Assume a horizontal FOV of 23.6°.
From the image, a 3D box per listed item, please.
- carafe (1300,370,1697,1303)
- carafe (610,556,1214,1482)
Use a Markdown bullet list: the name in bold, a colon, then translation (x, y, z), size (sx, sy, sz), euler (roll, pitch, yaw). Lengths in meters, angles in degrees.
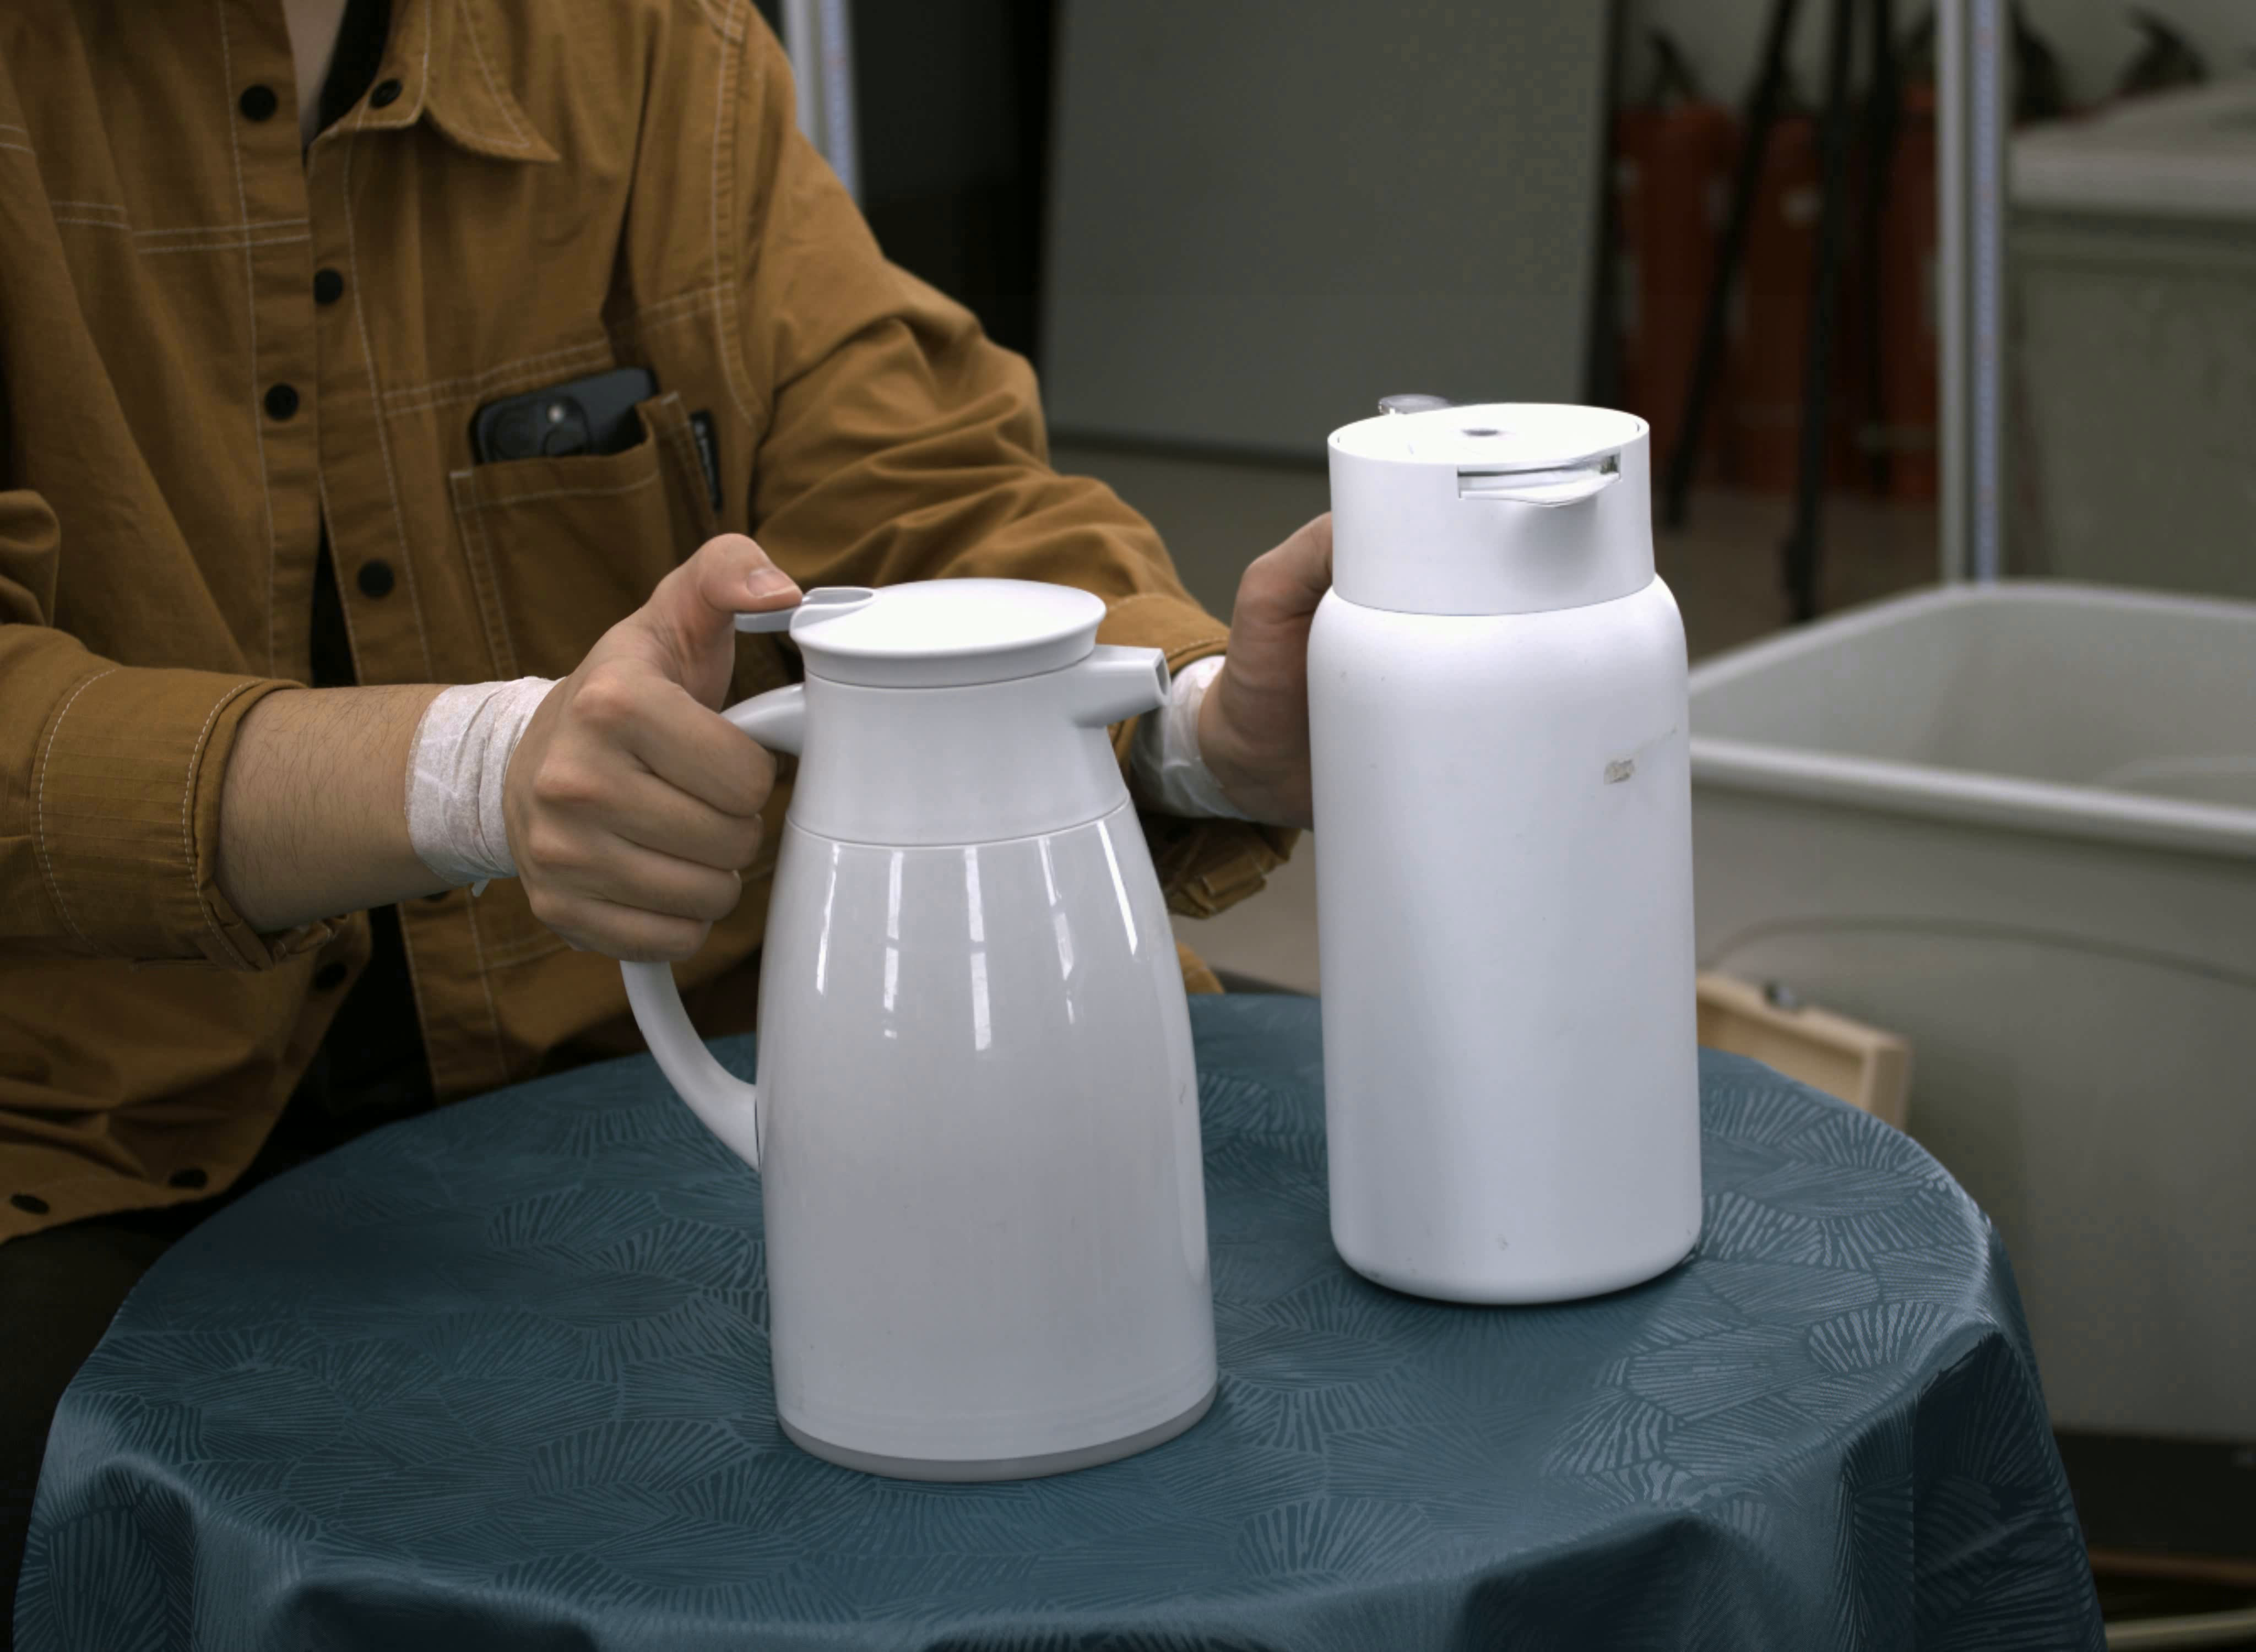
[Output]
- **carafe**: translation (0.107, 0.000, 1.670), size (0.121, 0.272, 0.174), euler (-10, 14, -17)
- **carafe**: translation (-0.066, 0.050, 1.562), size (0.166, 0.251, 0.132), euler (-2, 13, 10)
